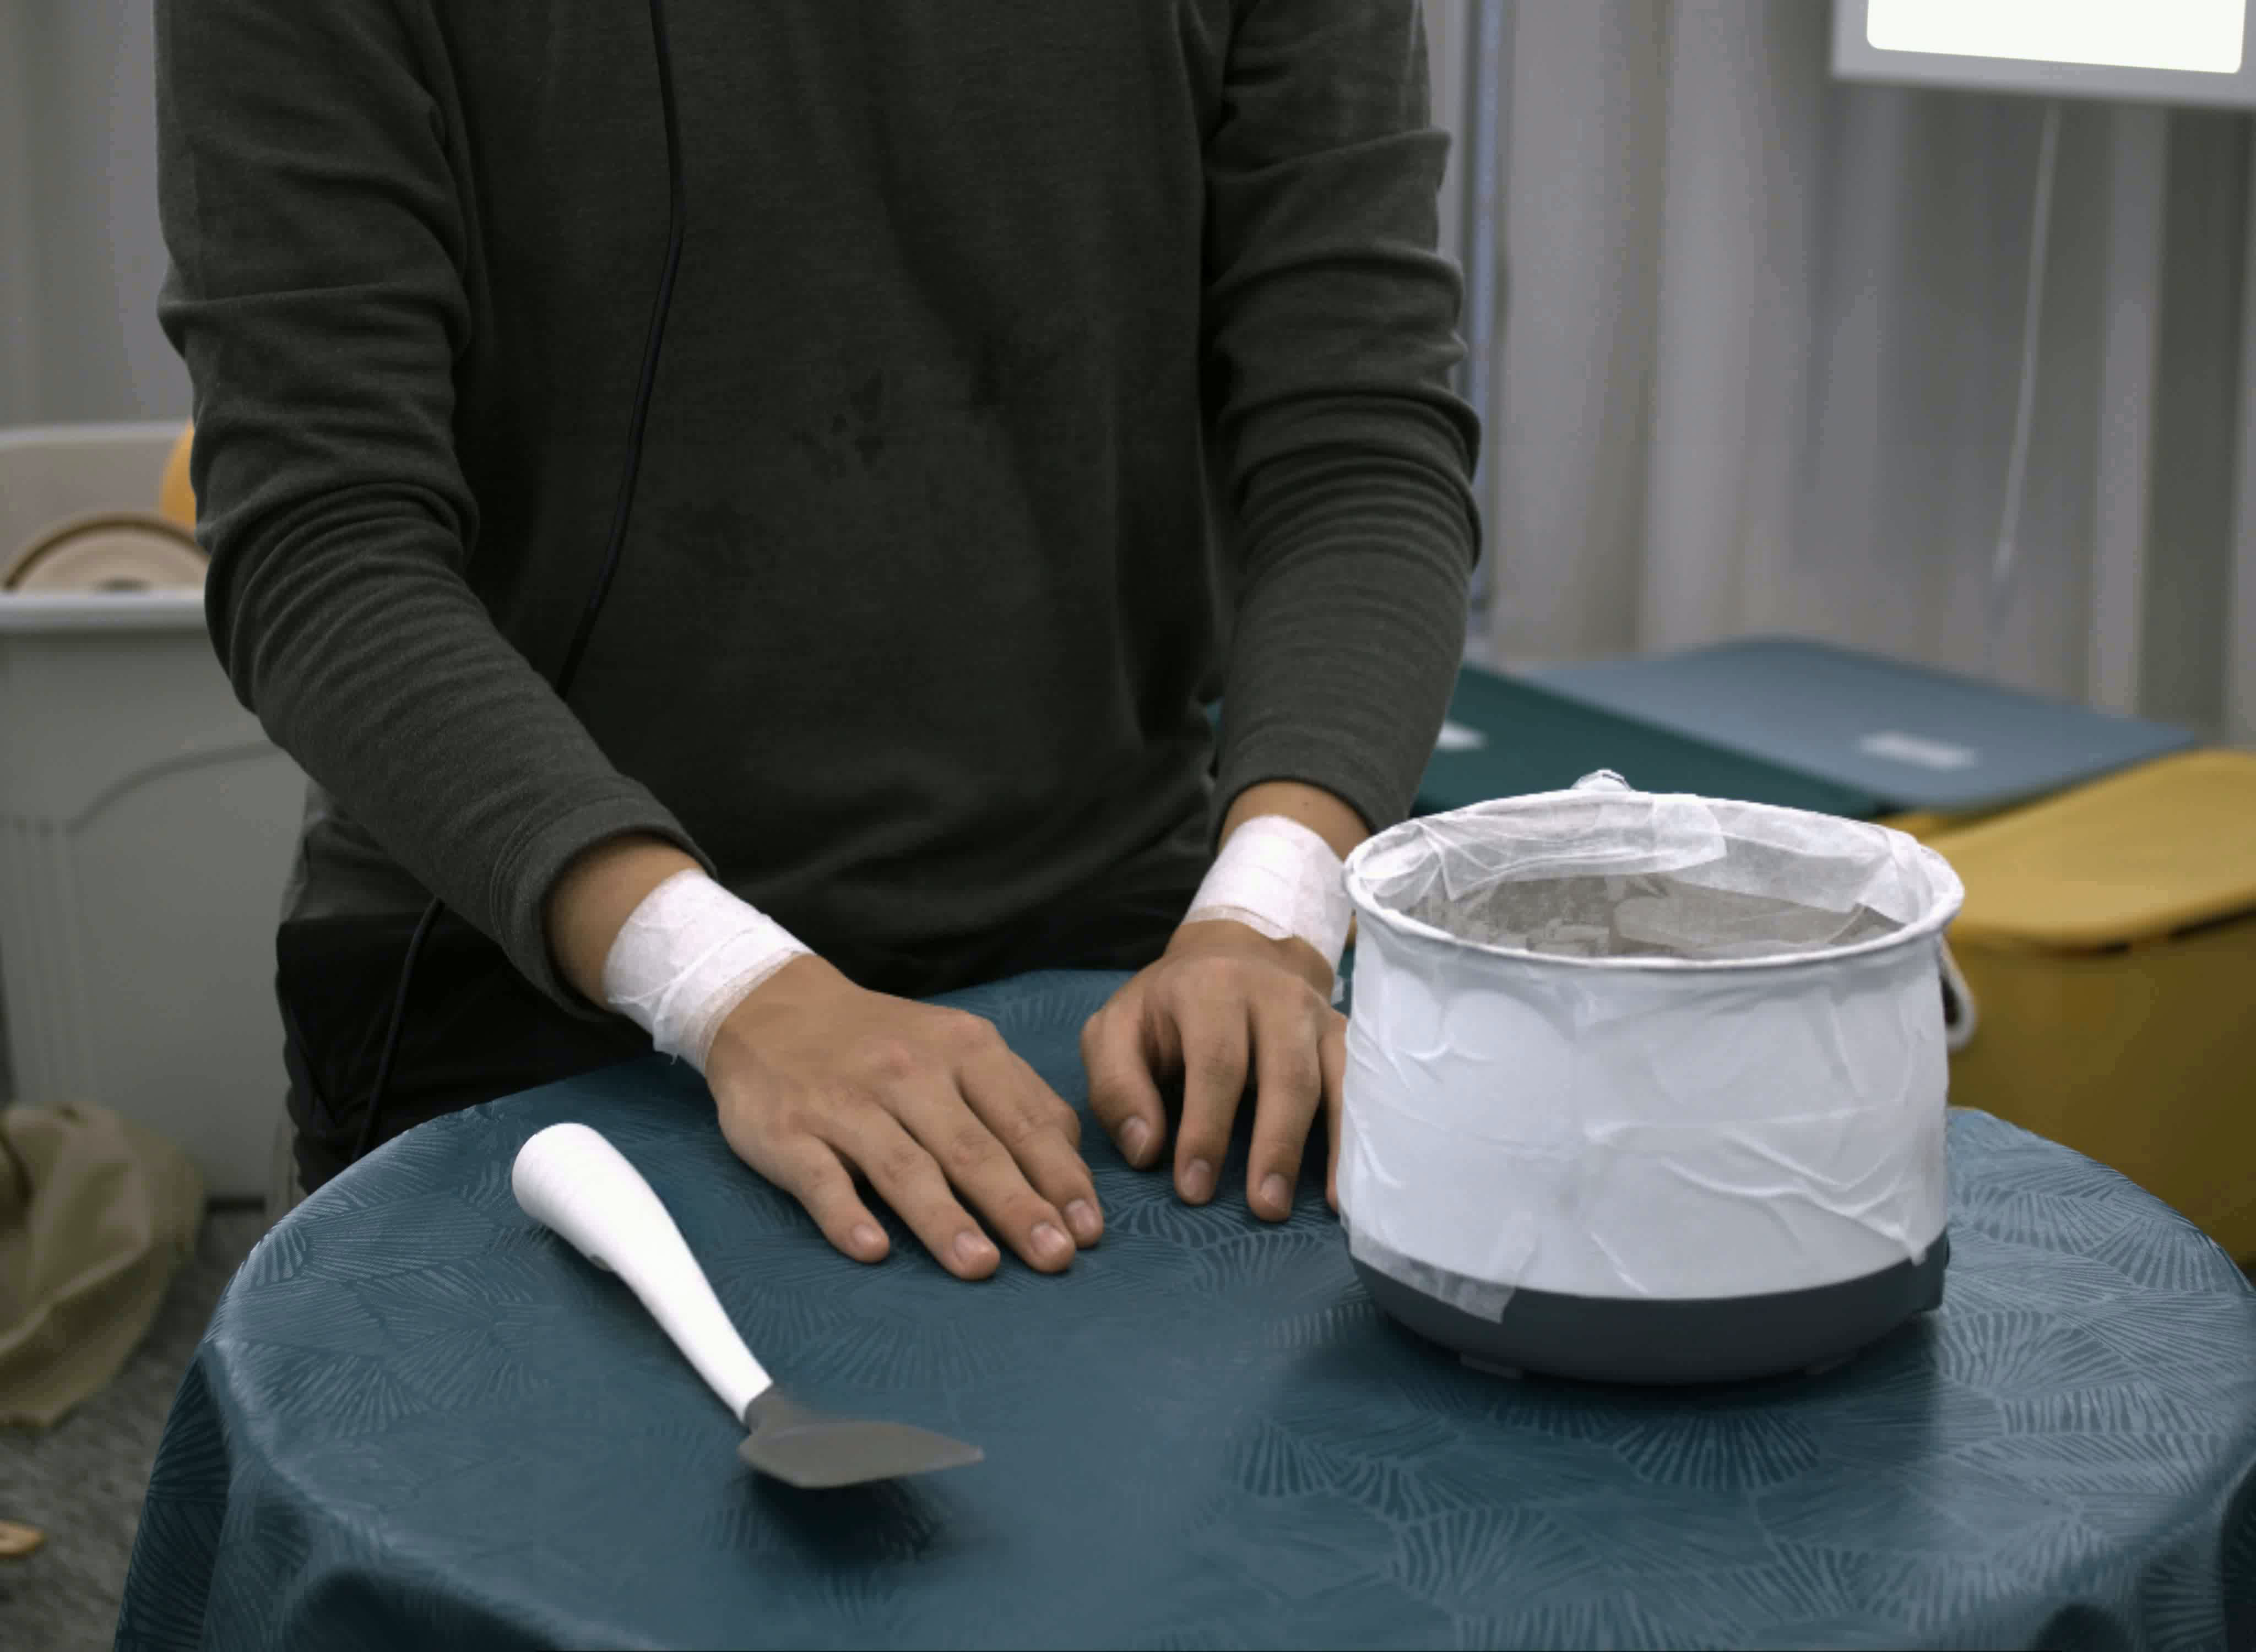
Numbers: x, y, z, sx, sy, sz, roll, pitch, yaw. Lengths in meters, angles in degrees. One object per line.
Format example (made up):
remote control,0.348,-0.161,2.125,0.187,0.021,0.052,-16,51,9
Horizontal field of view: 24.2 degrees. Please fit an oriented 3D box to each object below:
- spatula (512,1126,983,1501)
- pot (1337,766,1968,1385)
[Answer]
spatula,-0.114,0.139,1.458,0.059,0.032,0.284,-3,15,-23
pot,0.146,0.067,1.535,0.178,0.138,0.232,0,16,-5
